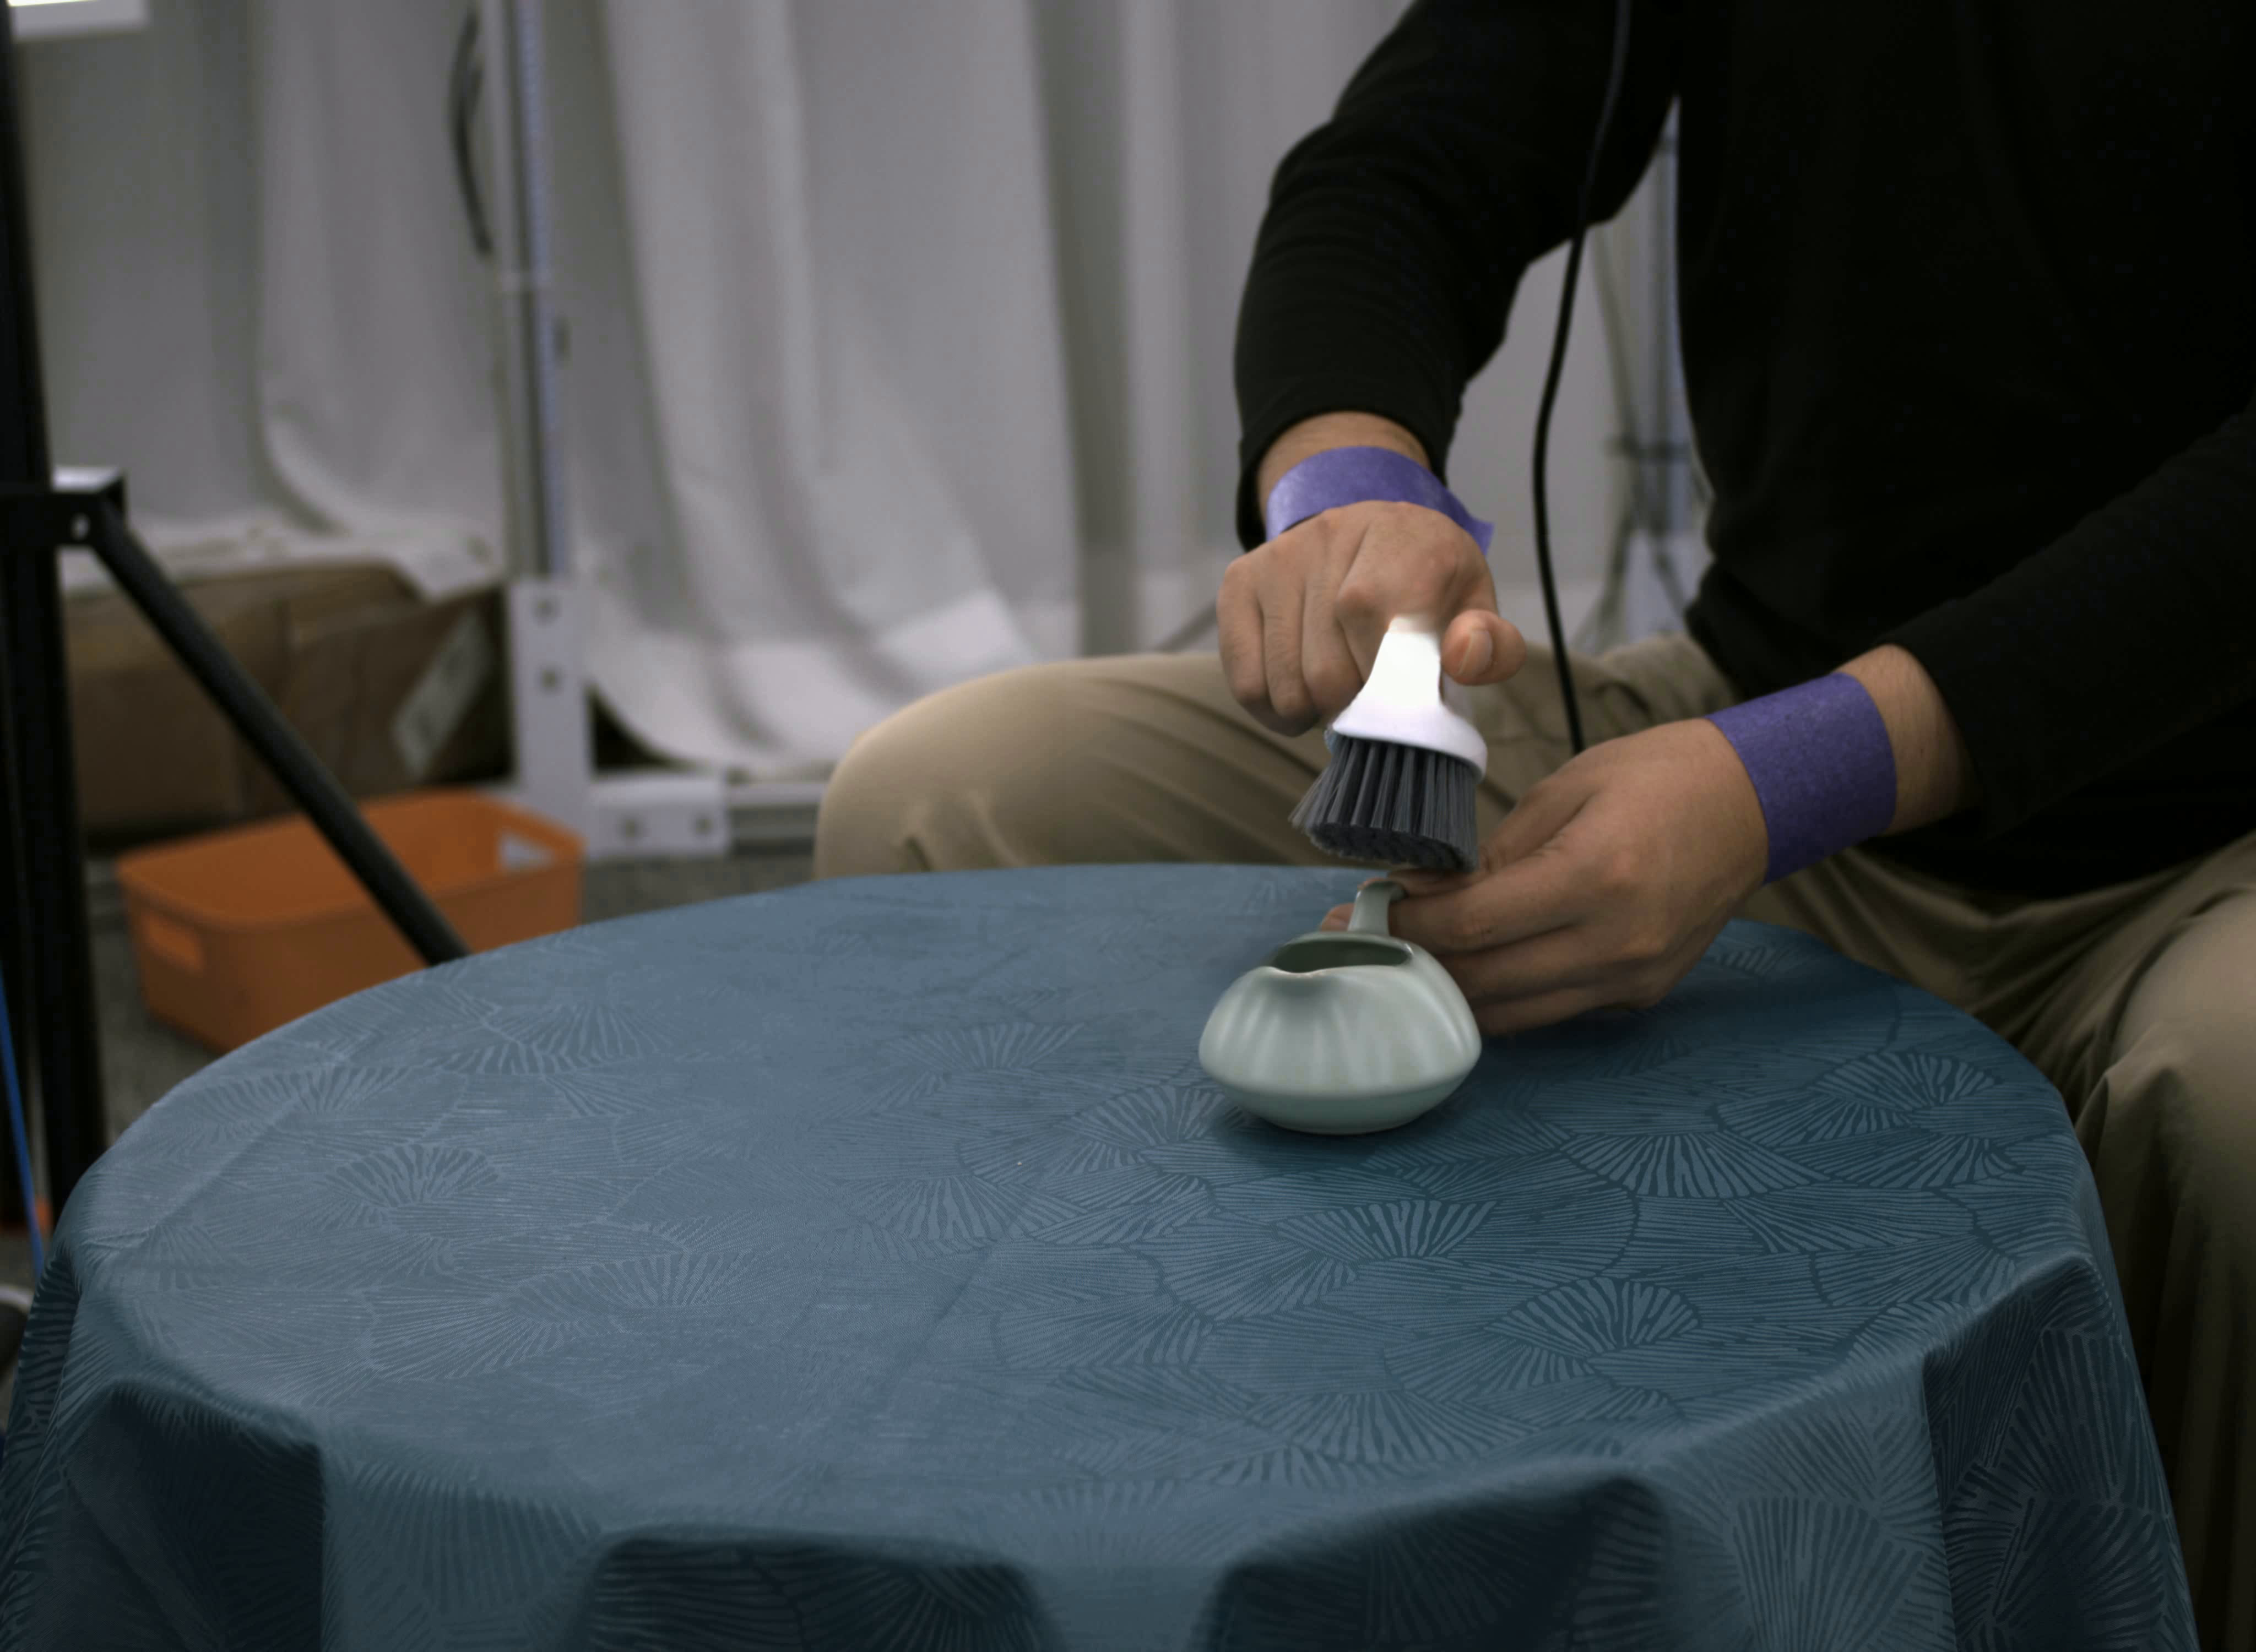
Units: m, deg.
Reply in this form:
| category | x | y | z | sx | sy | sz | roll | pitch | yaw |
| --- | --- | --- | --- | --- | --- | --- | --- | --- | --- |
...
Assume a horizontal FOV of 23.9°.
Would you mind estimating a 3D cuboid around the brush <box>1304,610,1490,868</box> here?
| category | x | y | z | sx | sy | sz | roll | pitch | yaw |
| --- | --- | --- | --- | --- | --- | --- | --- | --- | --- |
| brush | 0.086 | -0.029 | 1.631 | 0.050 | 0.073 | 0.098 | 7 | -6 | 12 |

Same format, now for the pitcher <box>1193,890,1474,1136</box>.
| category | x | y | z | sx | sy | sz | roll | pitch | yaw |
| --- | --- | --- | --- | --- | --- | --- | --- | --- | --- |
| pitcher | 0.066 | 0.058 | 1.625 | 0.087 | 0.060 | 0.107 | 3 | 13 | 17 |
